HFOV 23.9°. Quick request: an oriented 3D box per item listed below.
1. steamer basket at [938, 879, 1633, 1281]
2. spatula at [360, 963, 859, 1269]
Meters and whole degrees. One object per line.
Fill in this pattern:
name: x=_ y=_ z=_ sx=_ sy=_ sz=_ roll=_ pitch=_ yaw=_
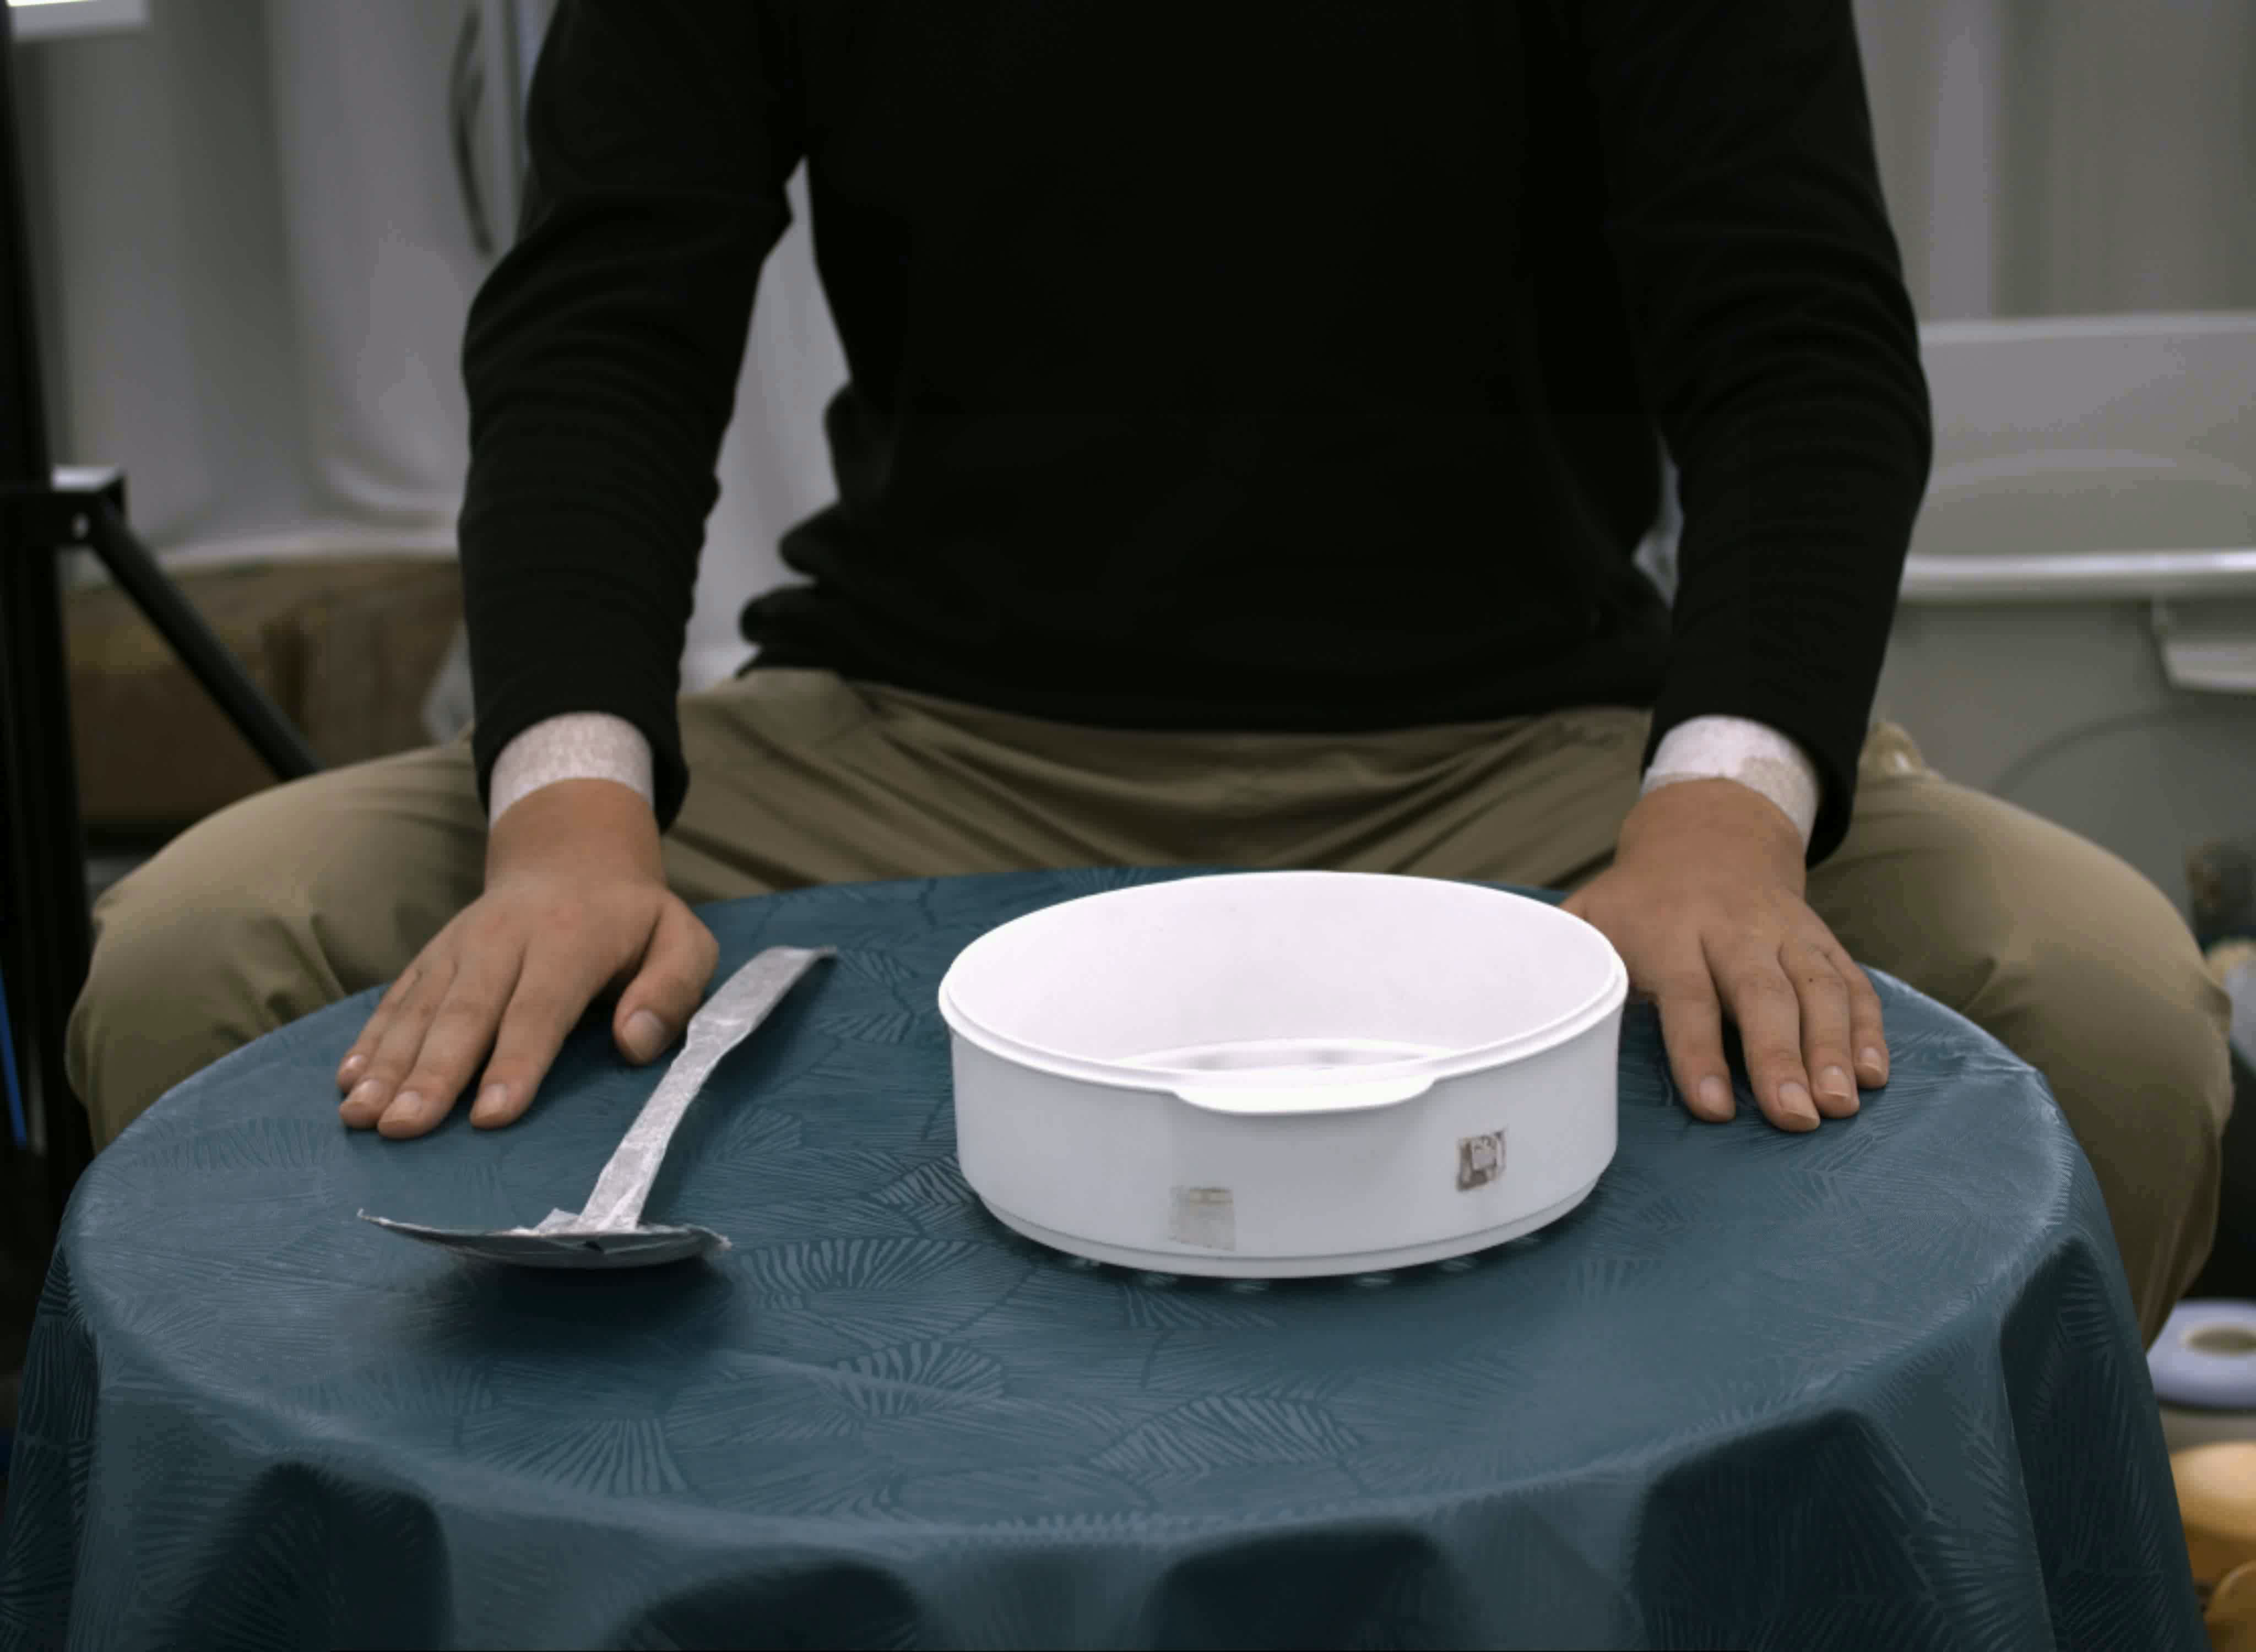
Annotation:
steamer basket: x=0.046 y=0.073 z=1.544 sx=0.201 sy=0.069 sz=0.231 roll=-2 pitch=15 yaw=0
spatula: x=-0.134 y=0.079 z=1.615 sx=0.099 sy=0.045 sz=0.363 roll=-1 pitch=16 yaw=11
